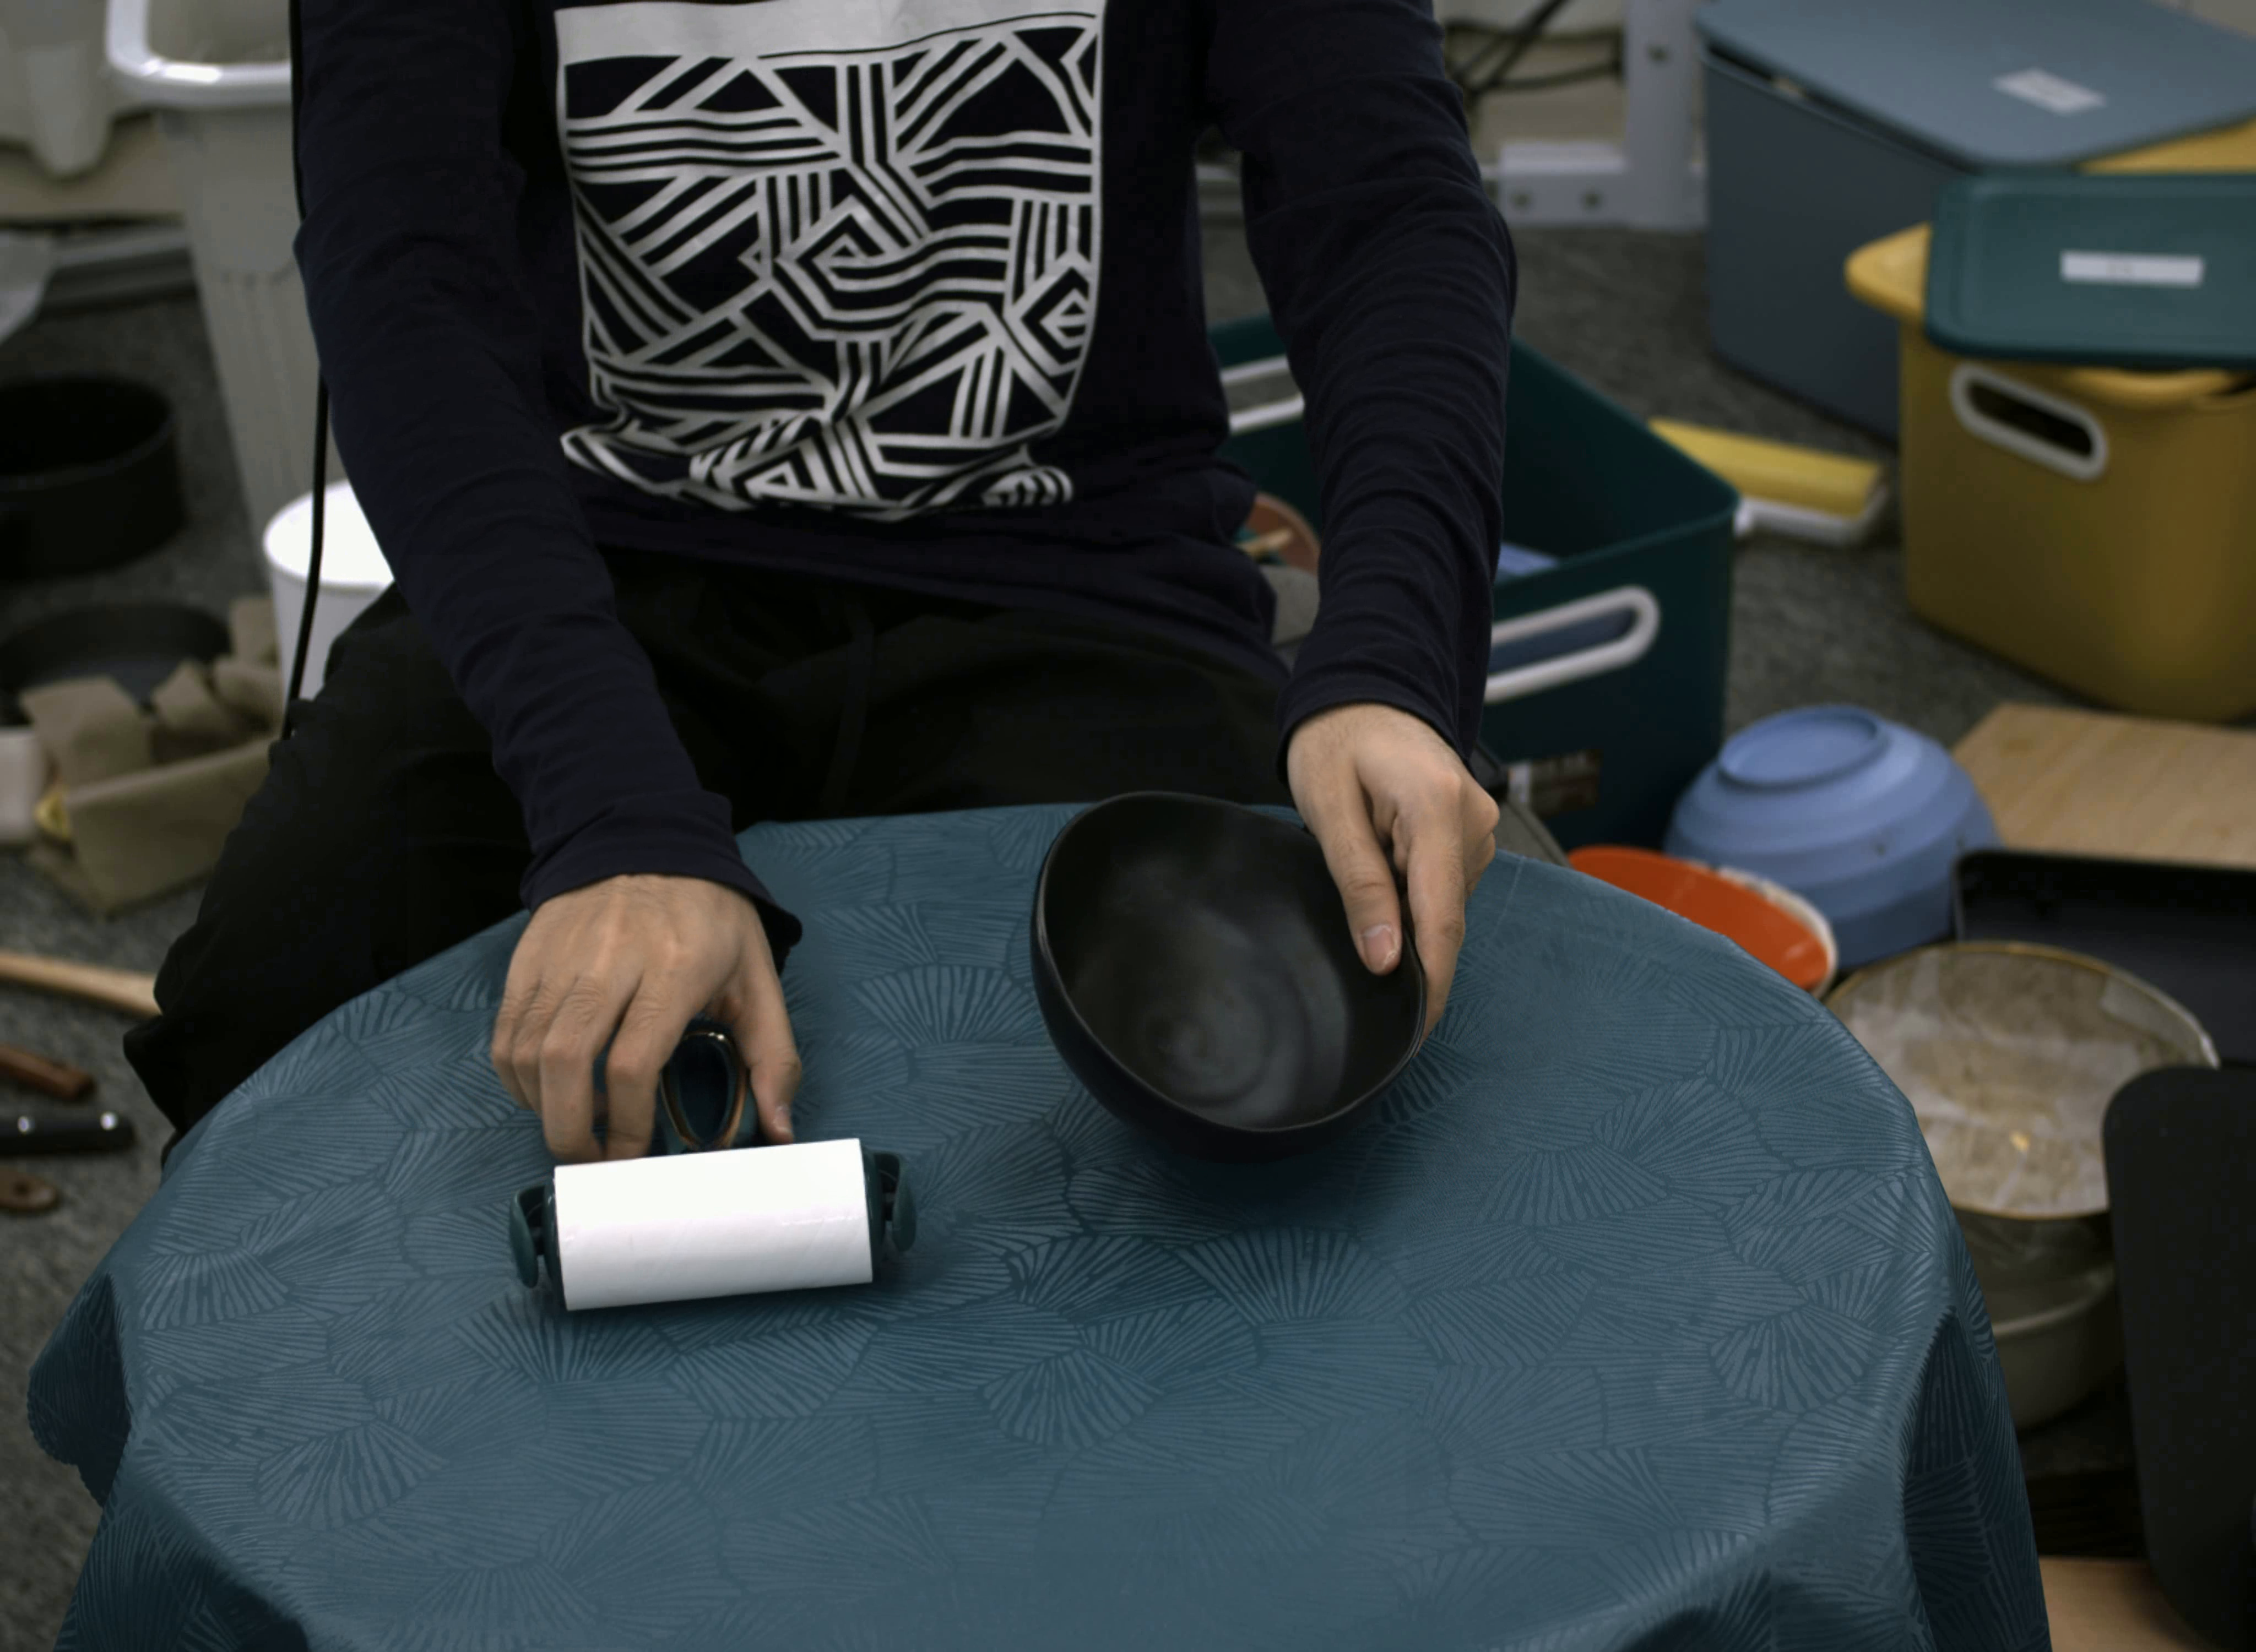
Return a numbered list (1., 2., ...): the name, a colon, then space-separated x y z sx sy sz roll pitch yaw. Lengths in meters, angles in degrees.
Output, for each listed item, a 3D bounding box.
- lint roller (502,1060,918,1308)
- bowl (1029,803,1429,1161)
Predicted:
1. lint roller: -0.141 0.101 1.871 0.134 0.048 0.182 -5 24 -4
2. bowl: 0.026 0.060 1.884 0.137 0.065 0.173 15 37 -9
